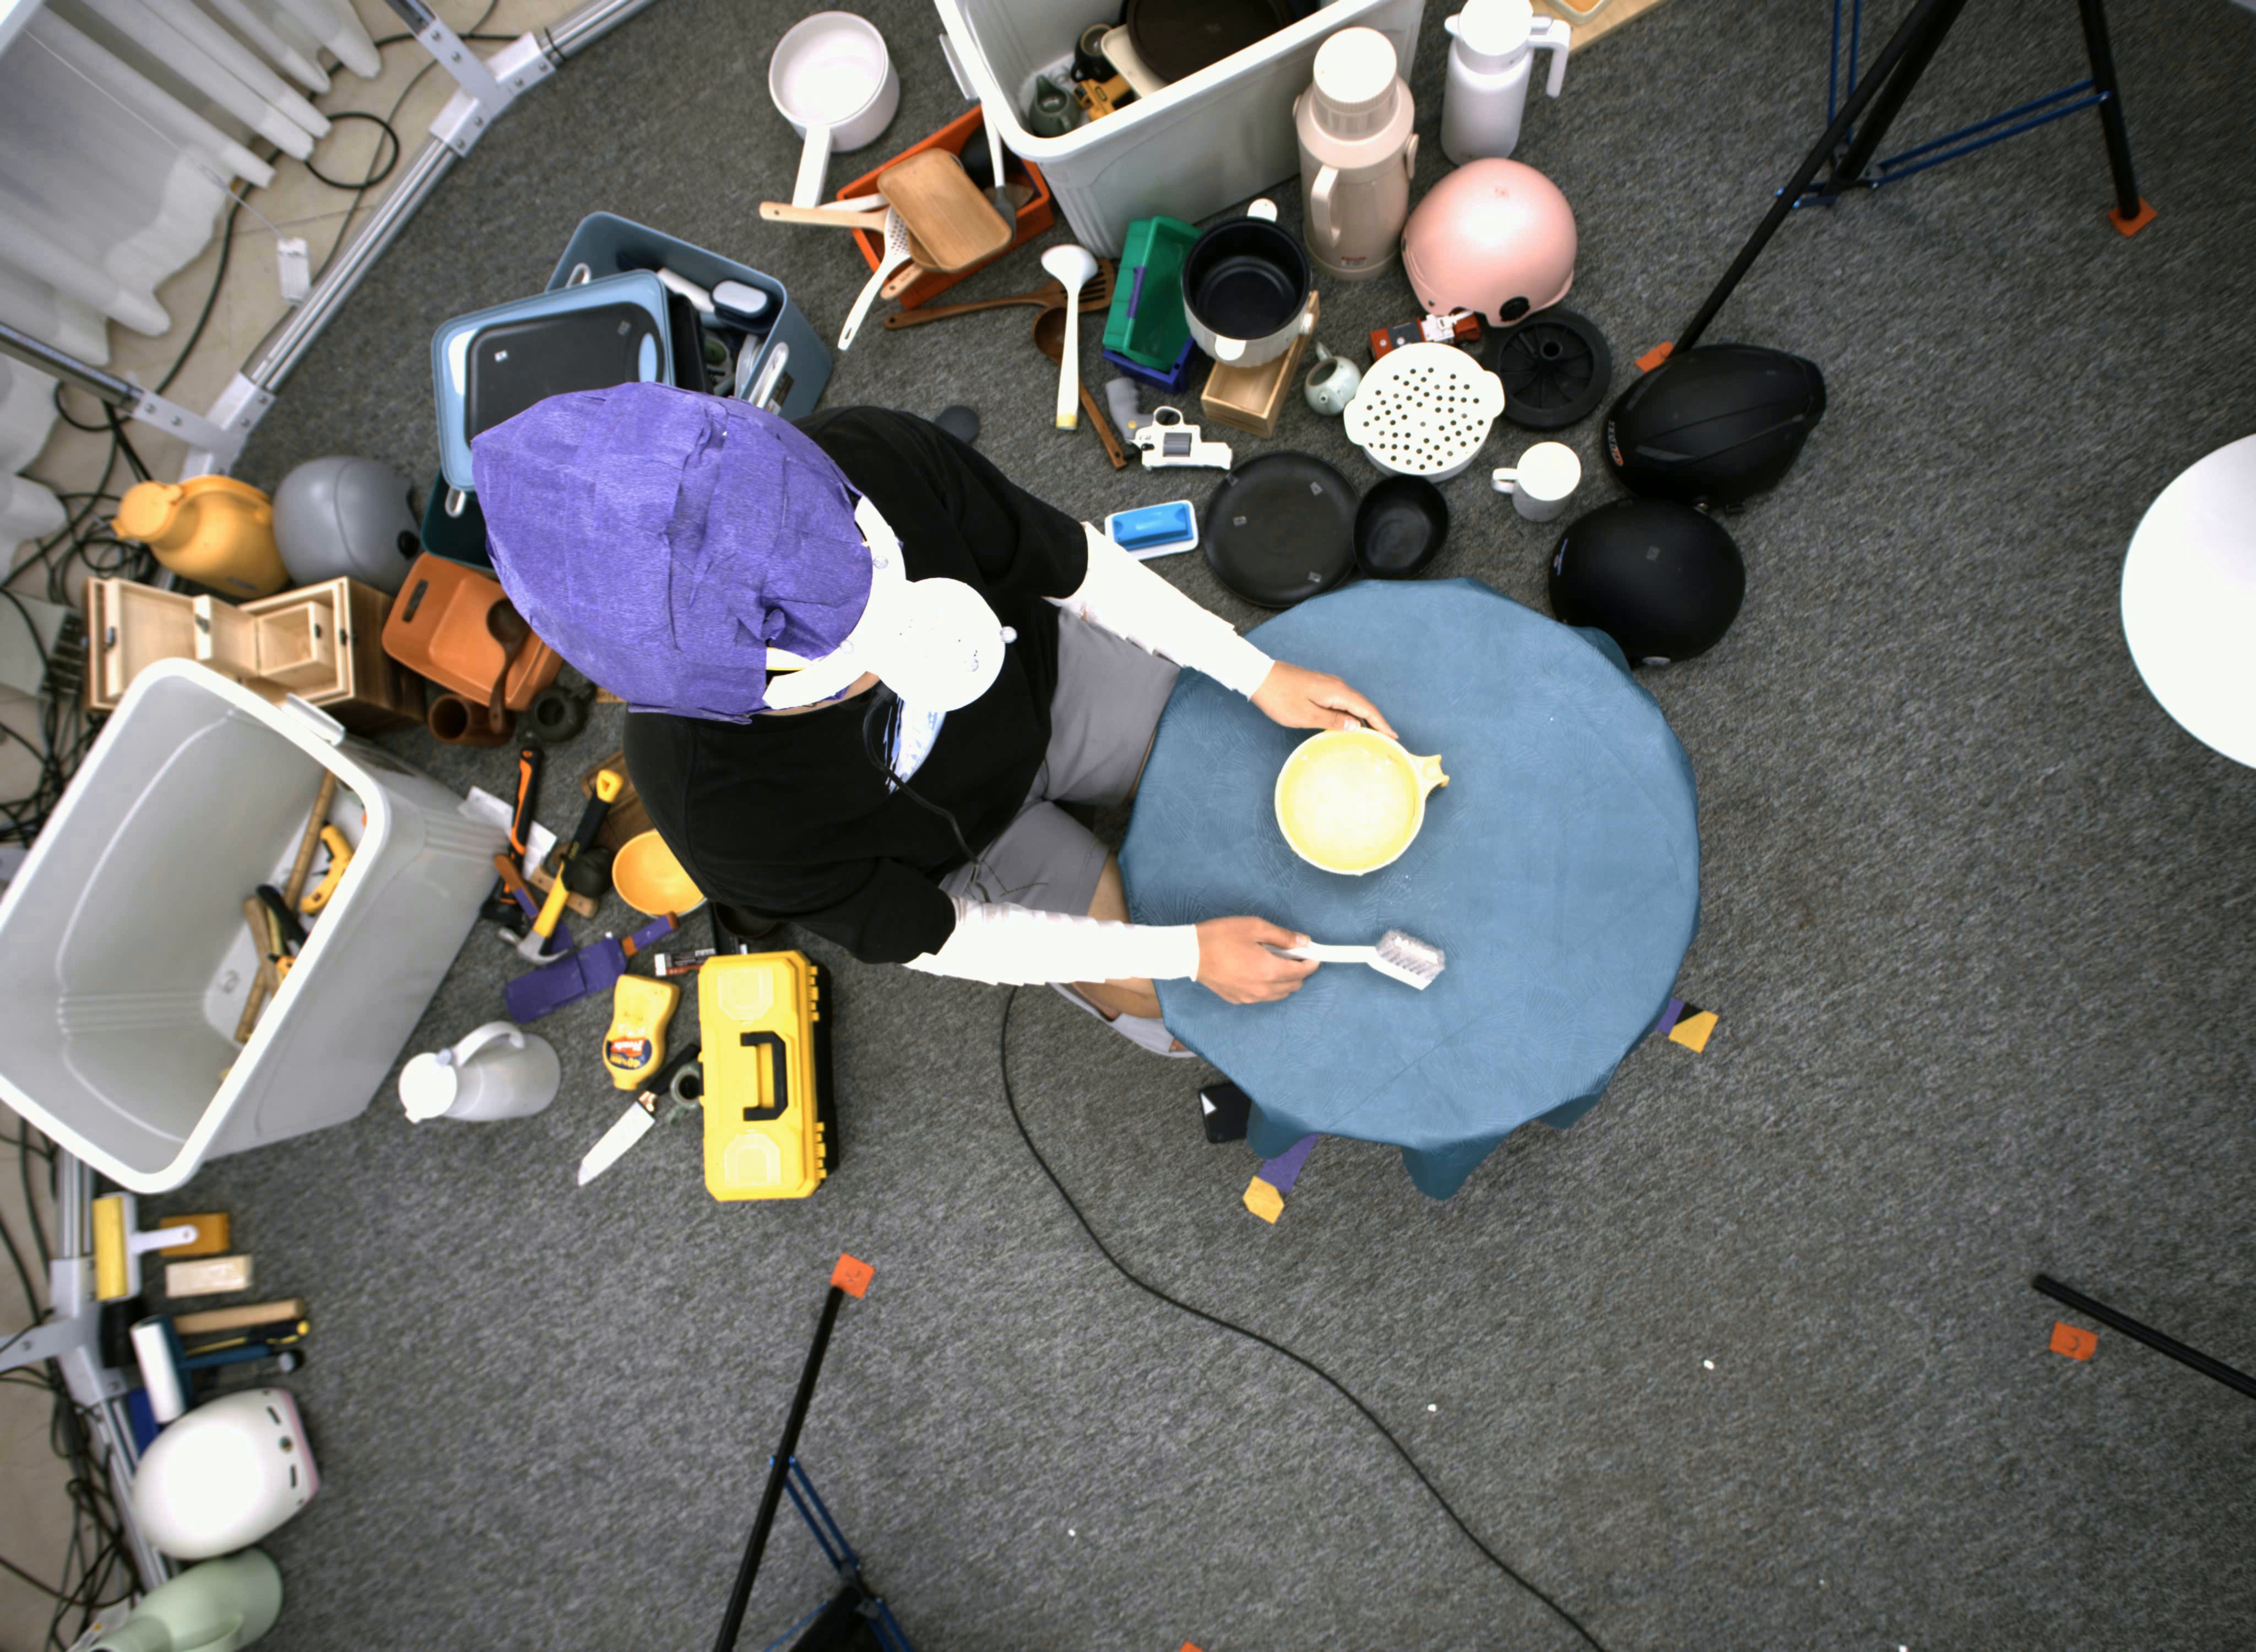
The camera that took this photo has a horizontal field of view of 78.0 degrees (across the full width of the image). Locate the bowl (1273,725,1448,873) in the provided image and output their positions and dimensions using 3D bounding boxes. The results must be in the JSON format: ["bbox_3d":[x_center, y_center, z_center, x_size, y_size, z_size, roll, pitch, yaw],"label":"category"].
[{"bbox_3d":[0.243,-0.028,1.434,0.180,0.074,0.151,-22,78,8],"label":"bowl"}]

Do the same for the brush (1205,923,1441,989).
[{"bbox_3d":[0.202,0.118,1.432,0.244,0.033,0.051,12,130,7],"label":"brush"}]
